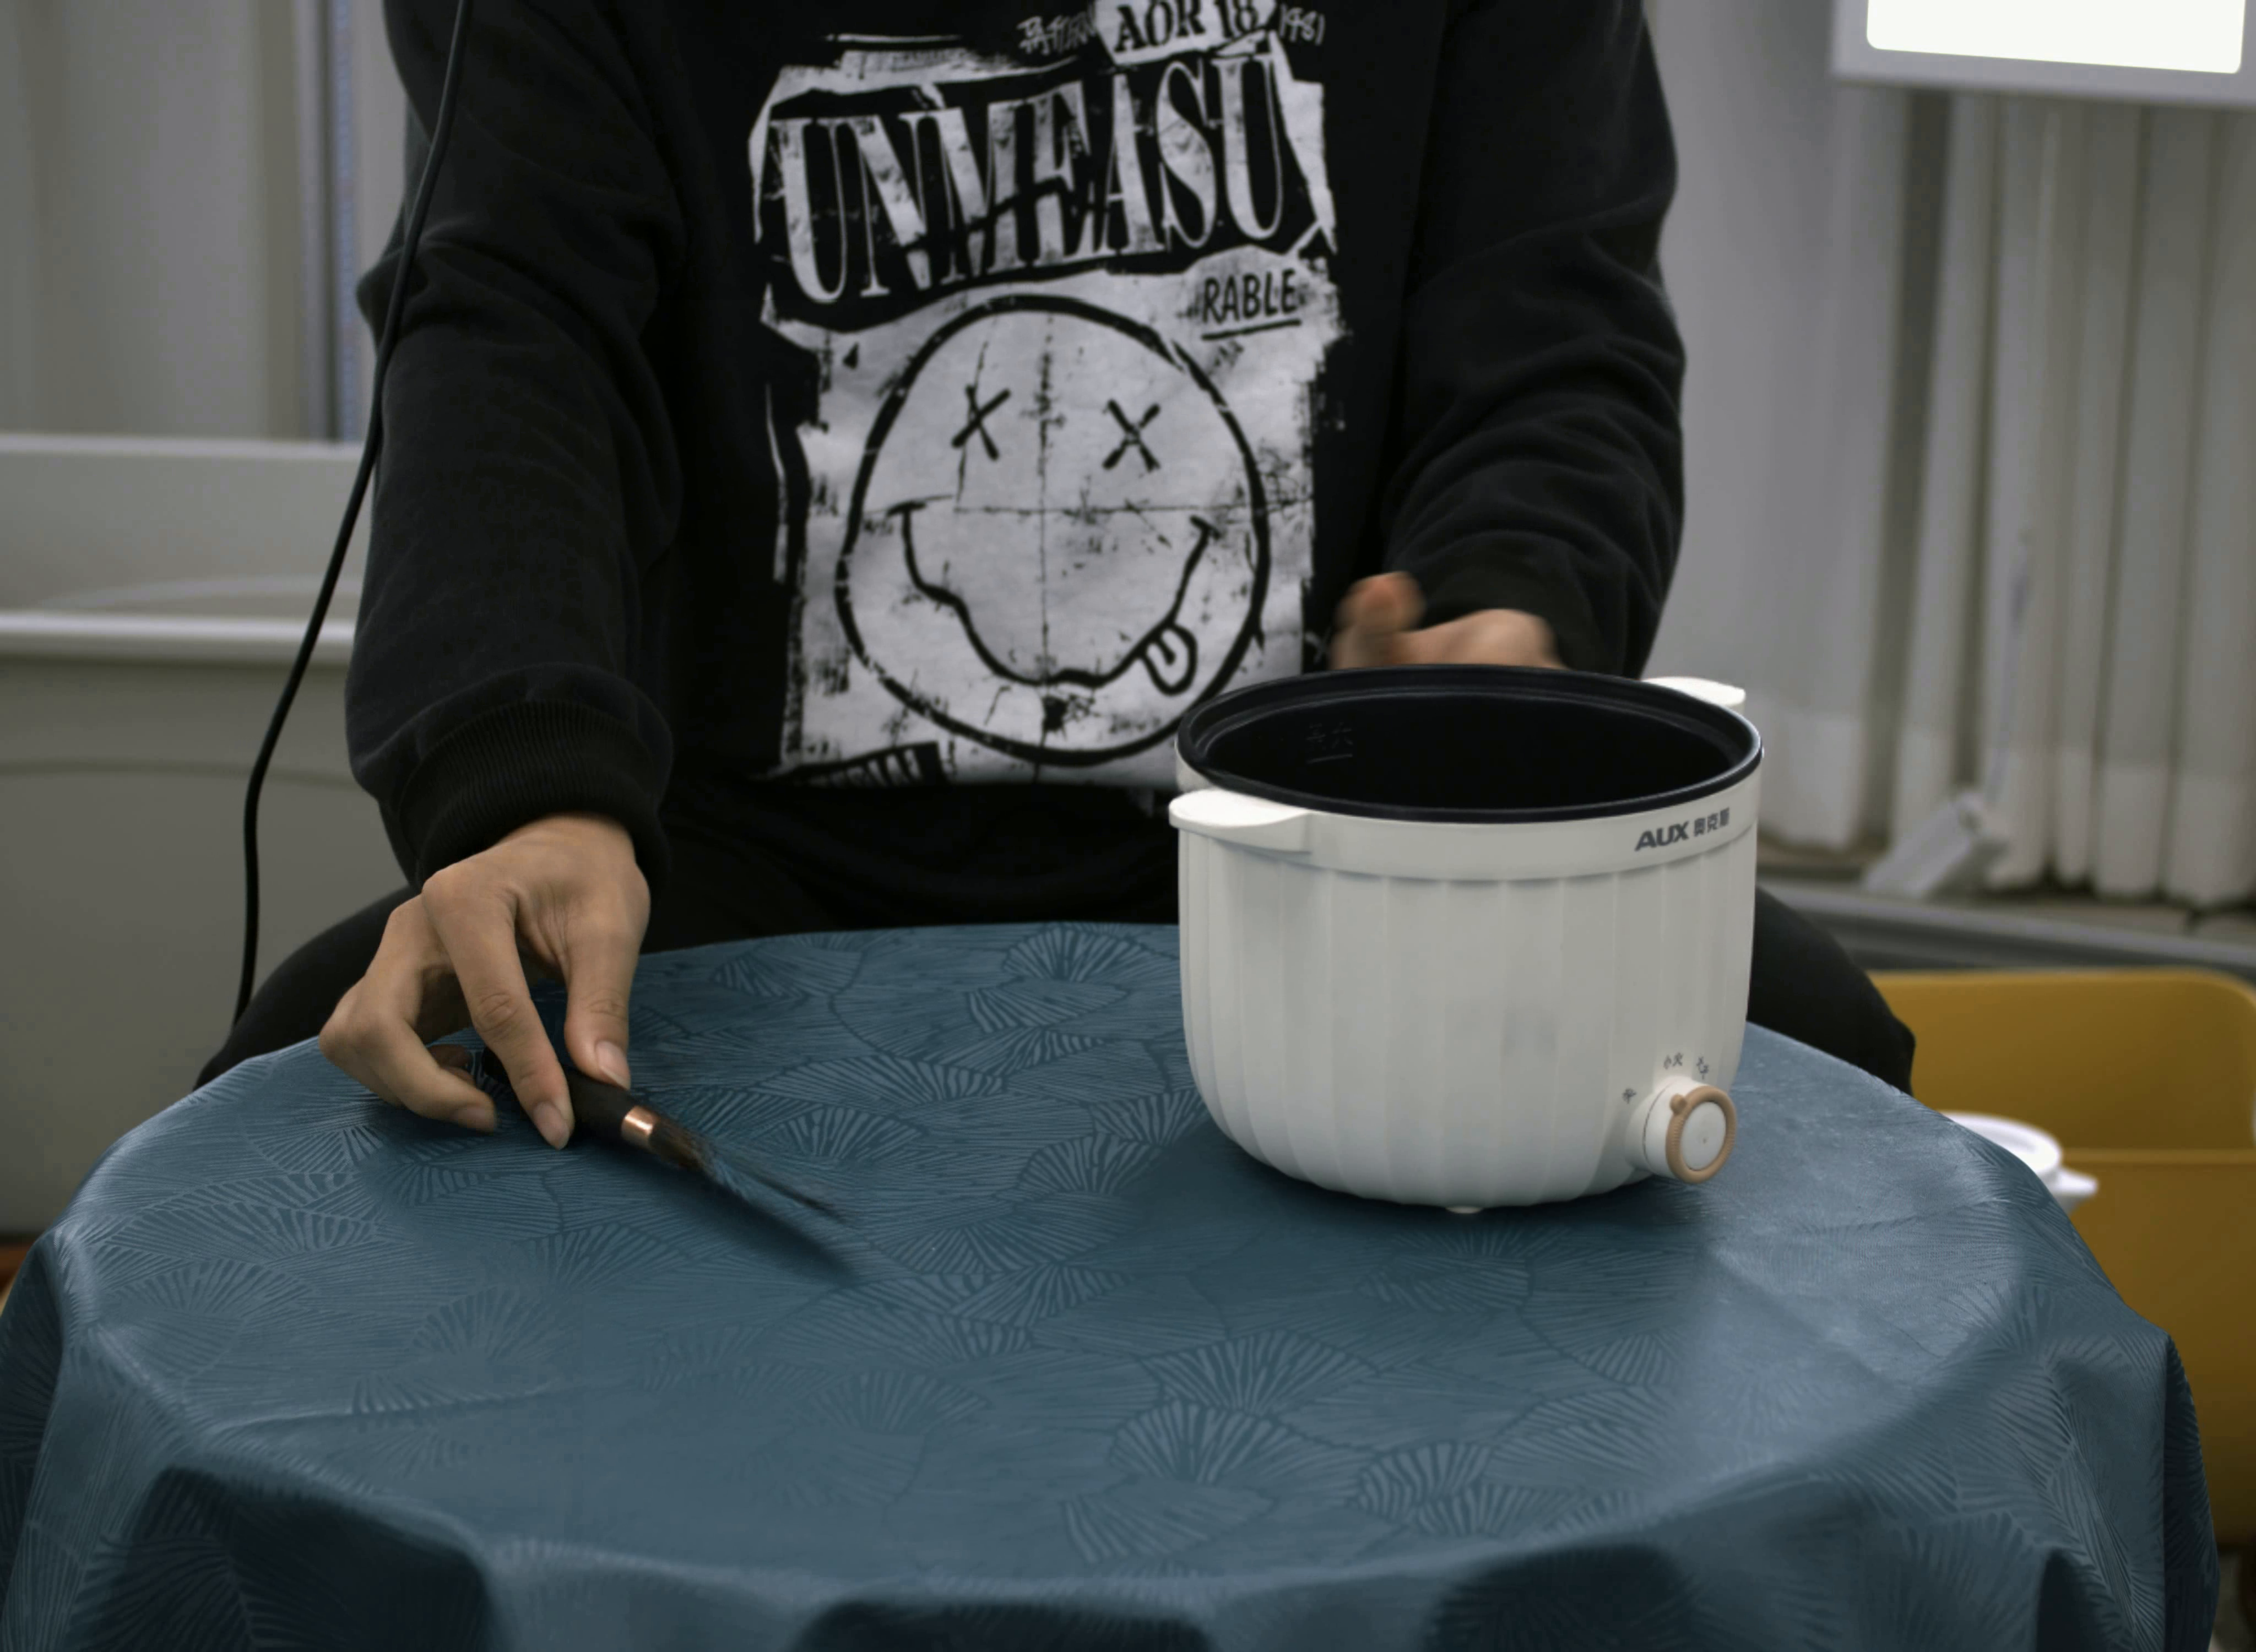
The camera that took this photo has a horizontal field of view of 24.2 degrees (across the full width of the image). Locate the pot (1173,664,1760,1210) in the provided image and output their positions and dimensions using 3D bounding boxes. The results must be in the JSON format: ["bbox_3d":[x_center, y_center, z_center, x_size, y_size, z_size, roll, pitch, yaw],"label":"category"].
[{"bbox_3d":[0.110,0.036,1.641,0.241,0.144,0.188,-16,19,-42],"label":"pot"}]

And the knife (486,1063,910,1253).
[{"bbox_3d":[-0.136,0.102,1.627,0.222,0.026,0.017,15,64,51],"label":"knife"}]
